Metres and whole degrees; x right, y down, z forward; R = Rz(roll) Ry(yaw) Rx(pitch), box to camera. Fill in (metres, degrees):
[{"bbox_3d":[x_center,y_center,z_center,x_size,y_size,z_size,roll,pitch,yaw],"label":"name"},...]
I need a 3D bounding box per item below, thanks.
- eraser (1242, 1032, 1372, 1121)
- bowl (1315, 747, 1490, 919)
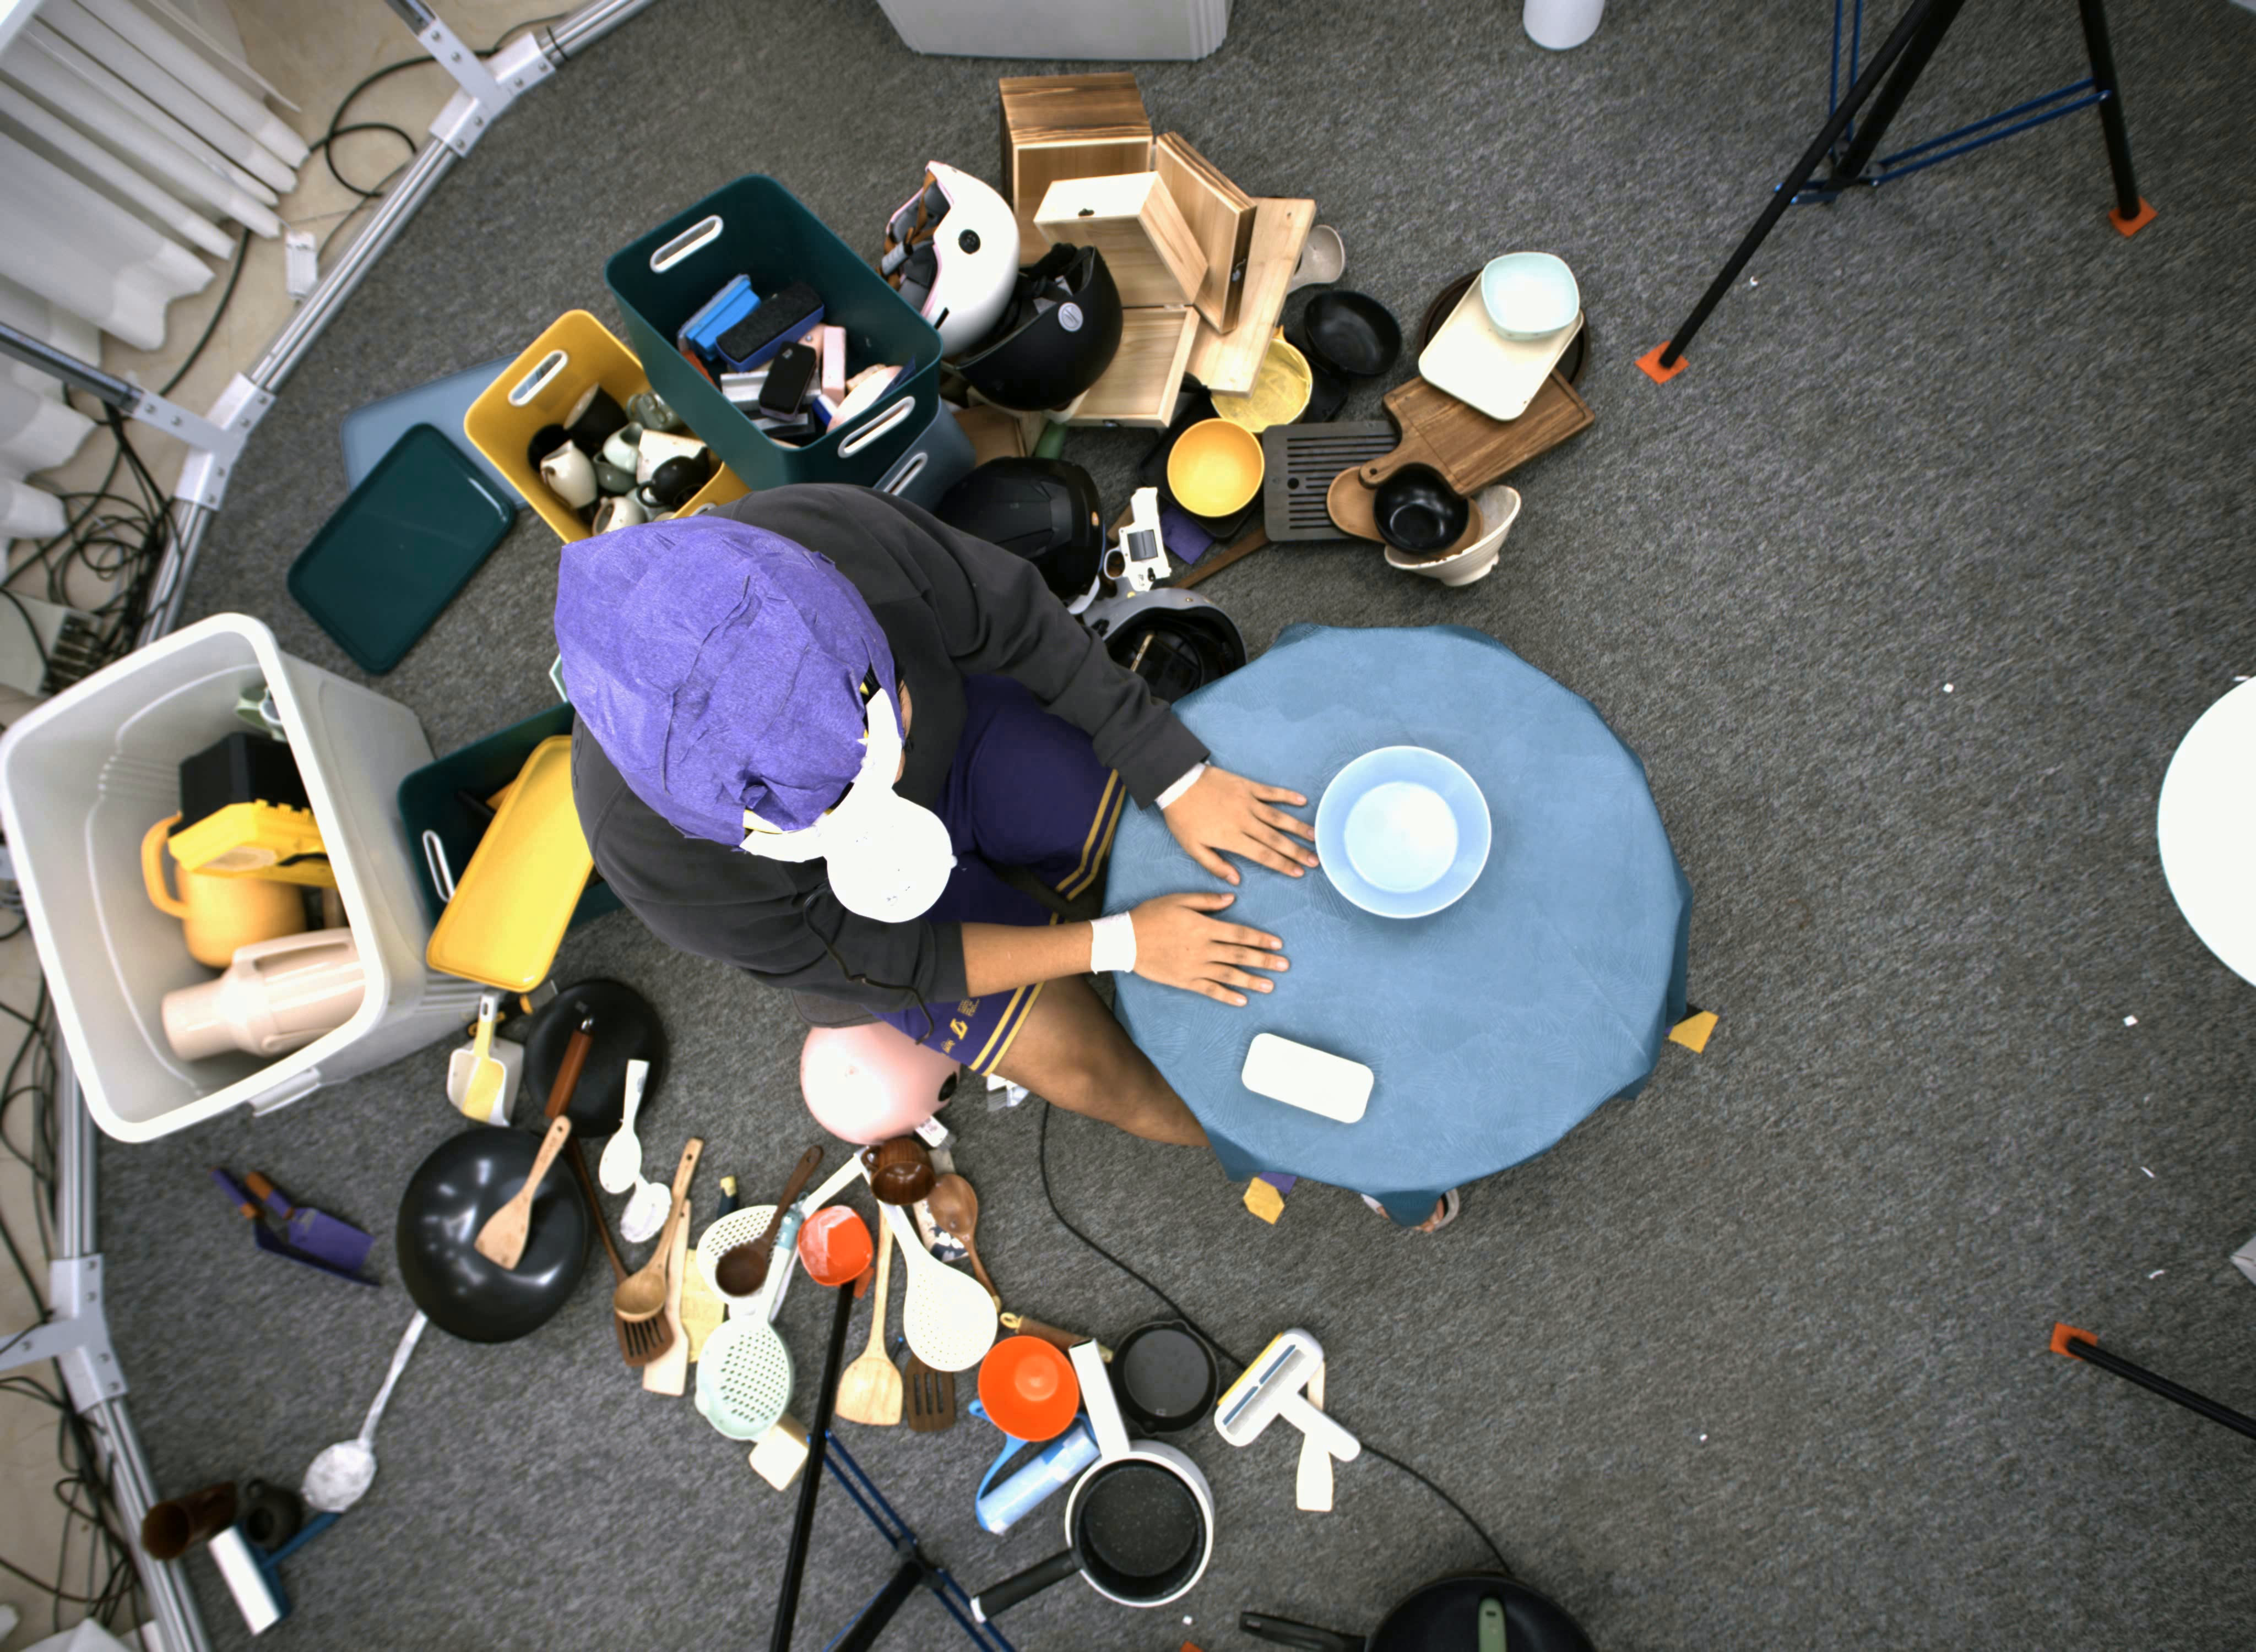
[{"bbox_3d":[0.187,0.259,1.448,0.131,0.034,0.063,19,88,9],"label":"eraser"},{"bbox_3d":[0.282,0.009,1.424,0.177,0.070,0.175,-1,86,10],"label":"bowl"}]
